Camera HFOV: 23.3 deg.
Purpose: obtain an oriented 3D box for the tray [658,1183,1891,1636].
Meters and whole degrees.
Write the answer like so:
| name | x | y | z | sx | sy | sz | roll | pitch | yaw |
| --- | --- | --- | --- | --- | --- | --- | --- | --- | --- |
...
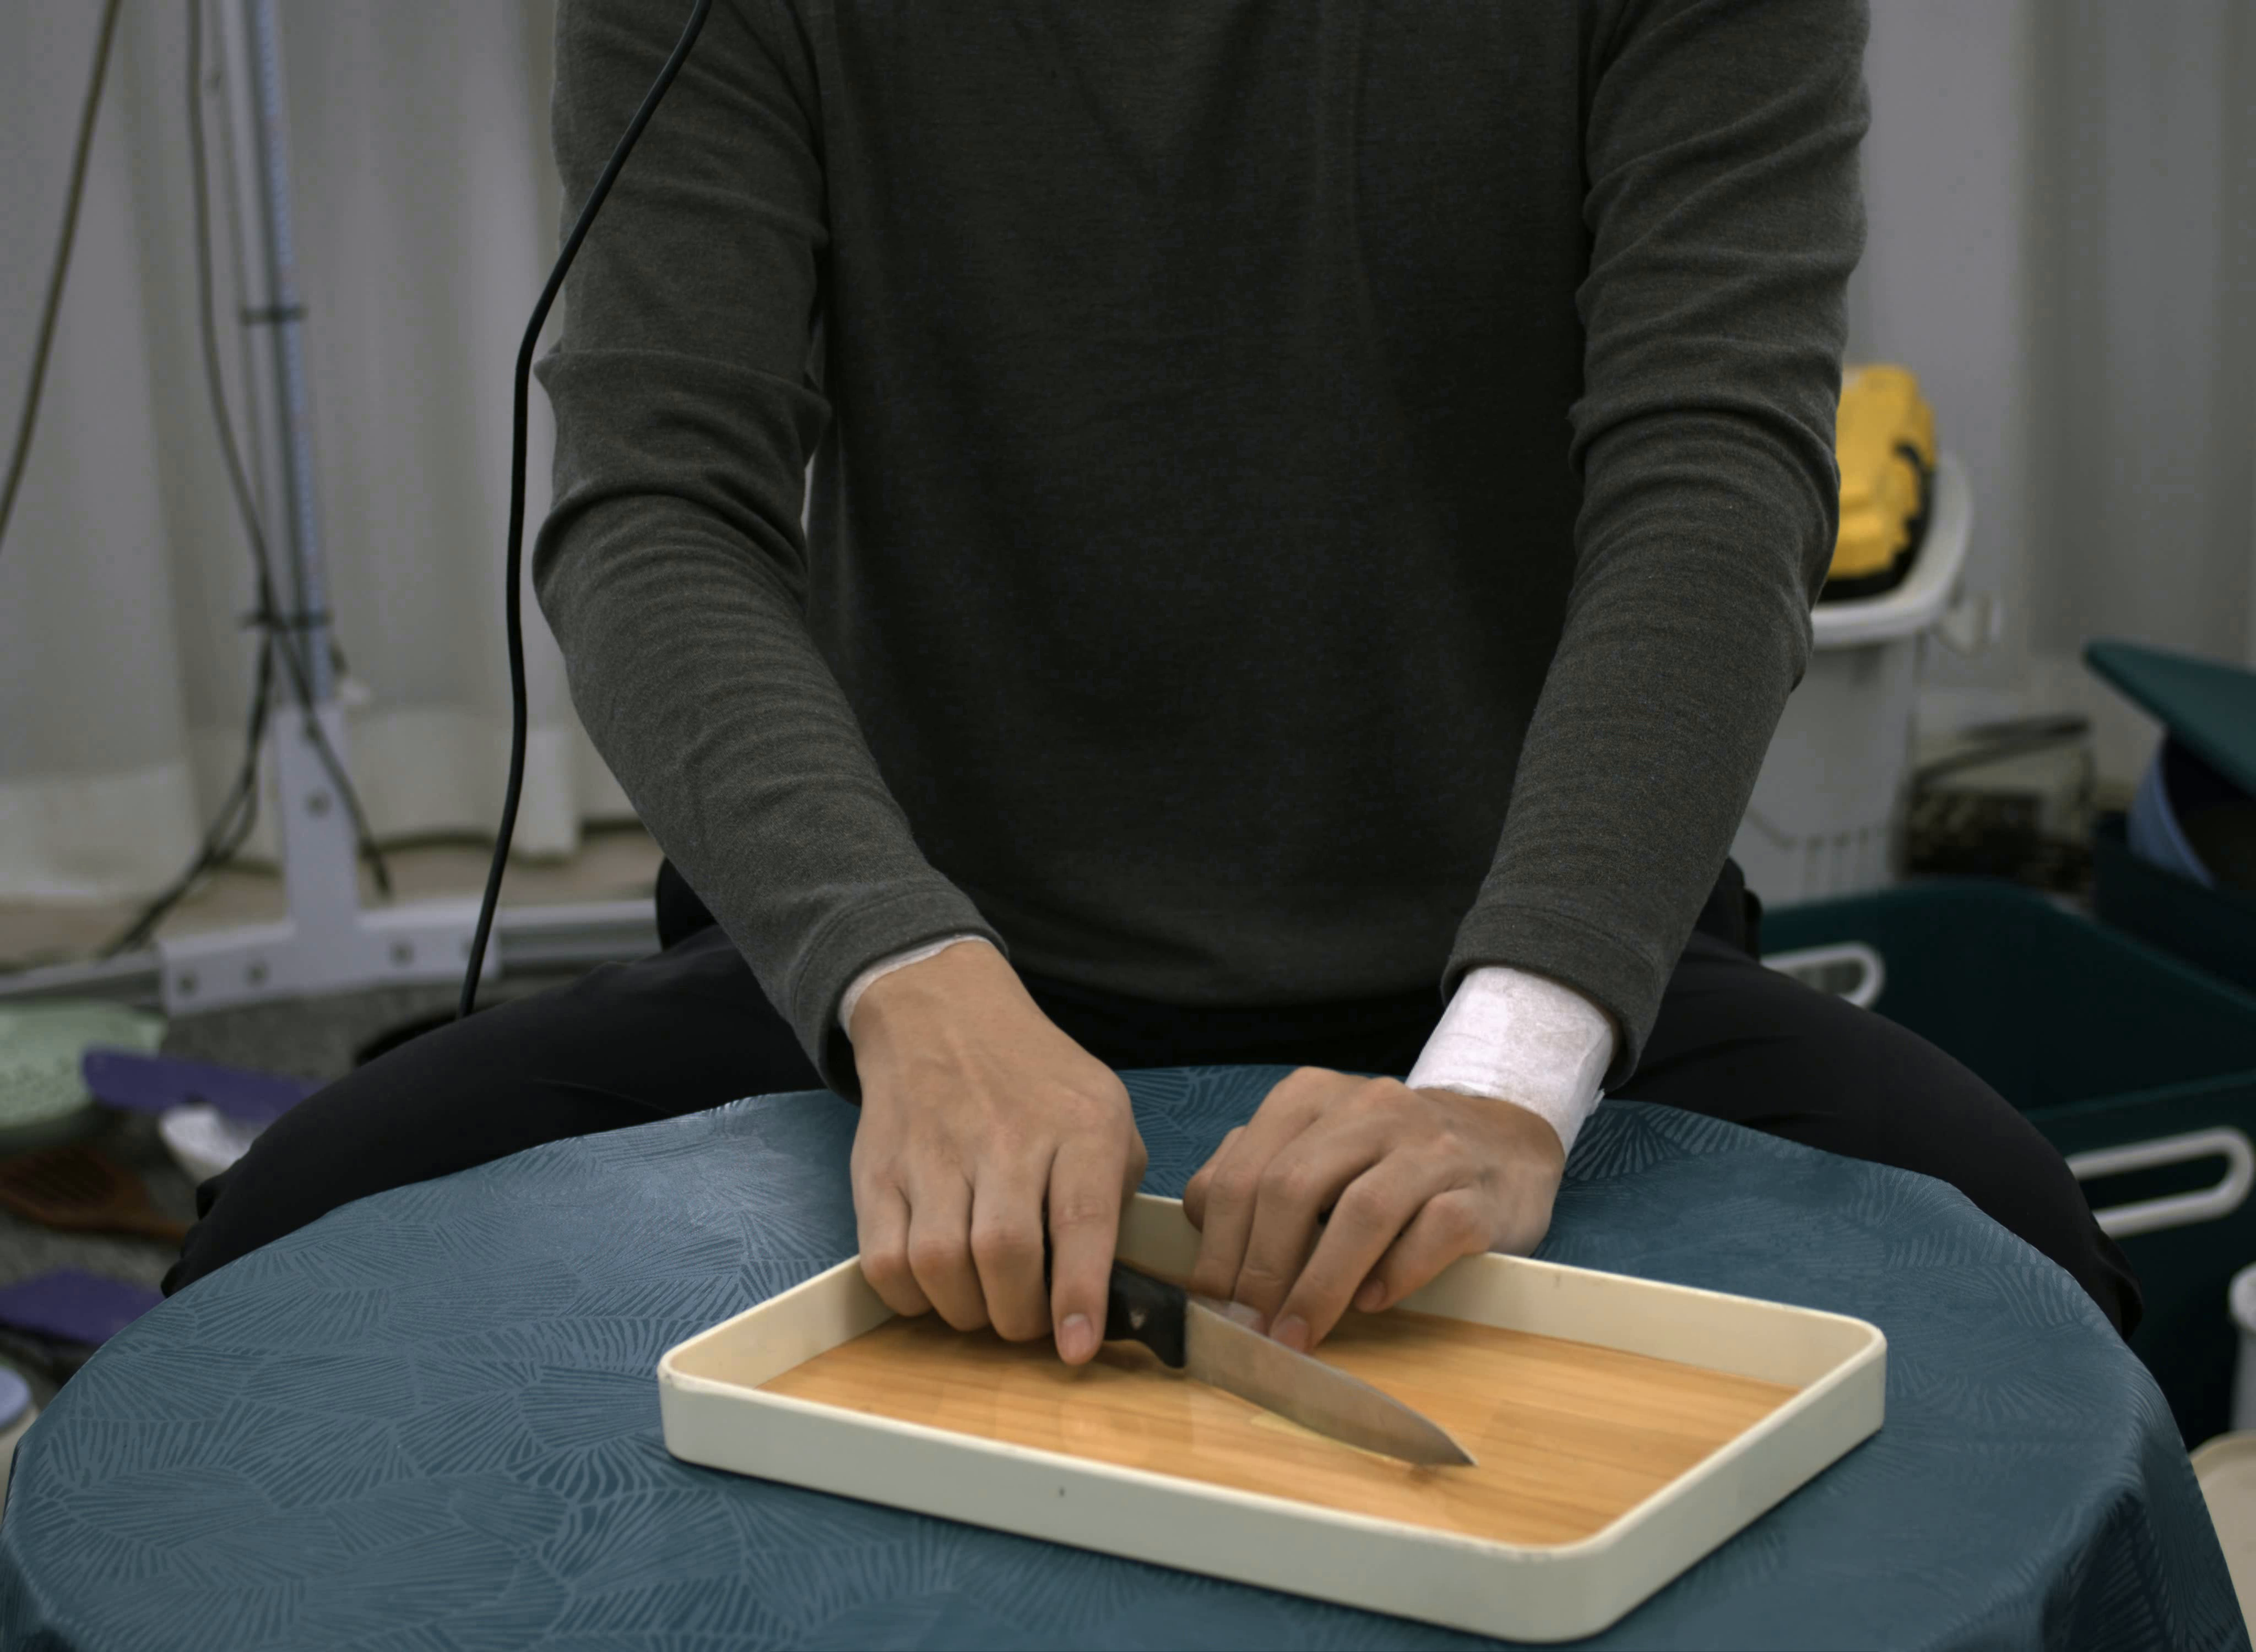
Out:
| name | x | y | z | sx | sy | sz | roll | pitch | yaw |
| --- | --- | --- | --- | --- | --- | --- | --- | --- | --- |
| tray | 0.039 | 0.156 | 1.504 | 0.301 | 0.027 | 0.191 | 8 | 17 | 34 |

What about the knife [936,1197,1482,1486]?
| name | x | y | z | sx | sy | sz | roll | pitch | yaw |
| --- | --- | --- | --- | --- | --- | --- | --- | --- | --- |
| knife | 0.020 | 0.142 | 1.524 | 0.016 | 0.024 | 0.240 | -12 | 20 | -36 |
